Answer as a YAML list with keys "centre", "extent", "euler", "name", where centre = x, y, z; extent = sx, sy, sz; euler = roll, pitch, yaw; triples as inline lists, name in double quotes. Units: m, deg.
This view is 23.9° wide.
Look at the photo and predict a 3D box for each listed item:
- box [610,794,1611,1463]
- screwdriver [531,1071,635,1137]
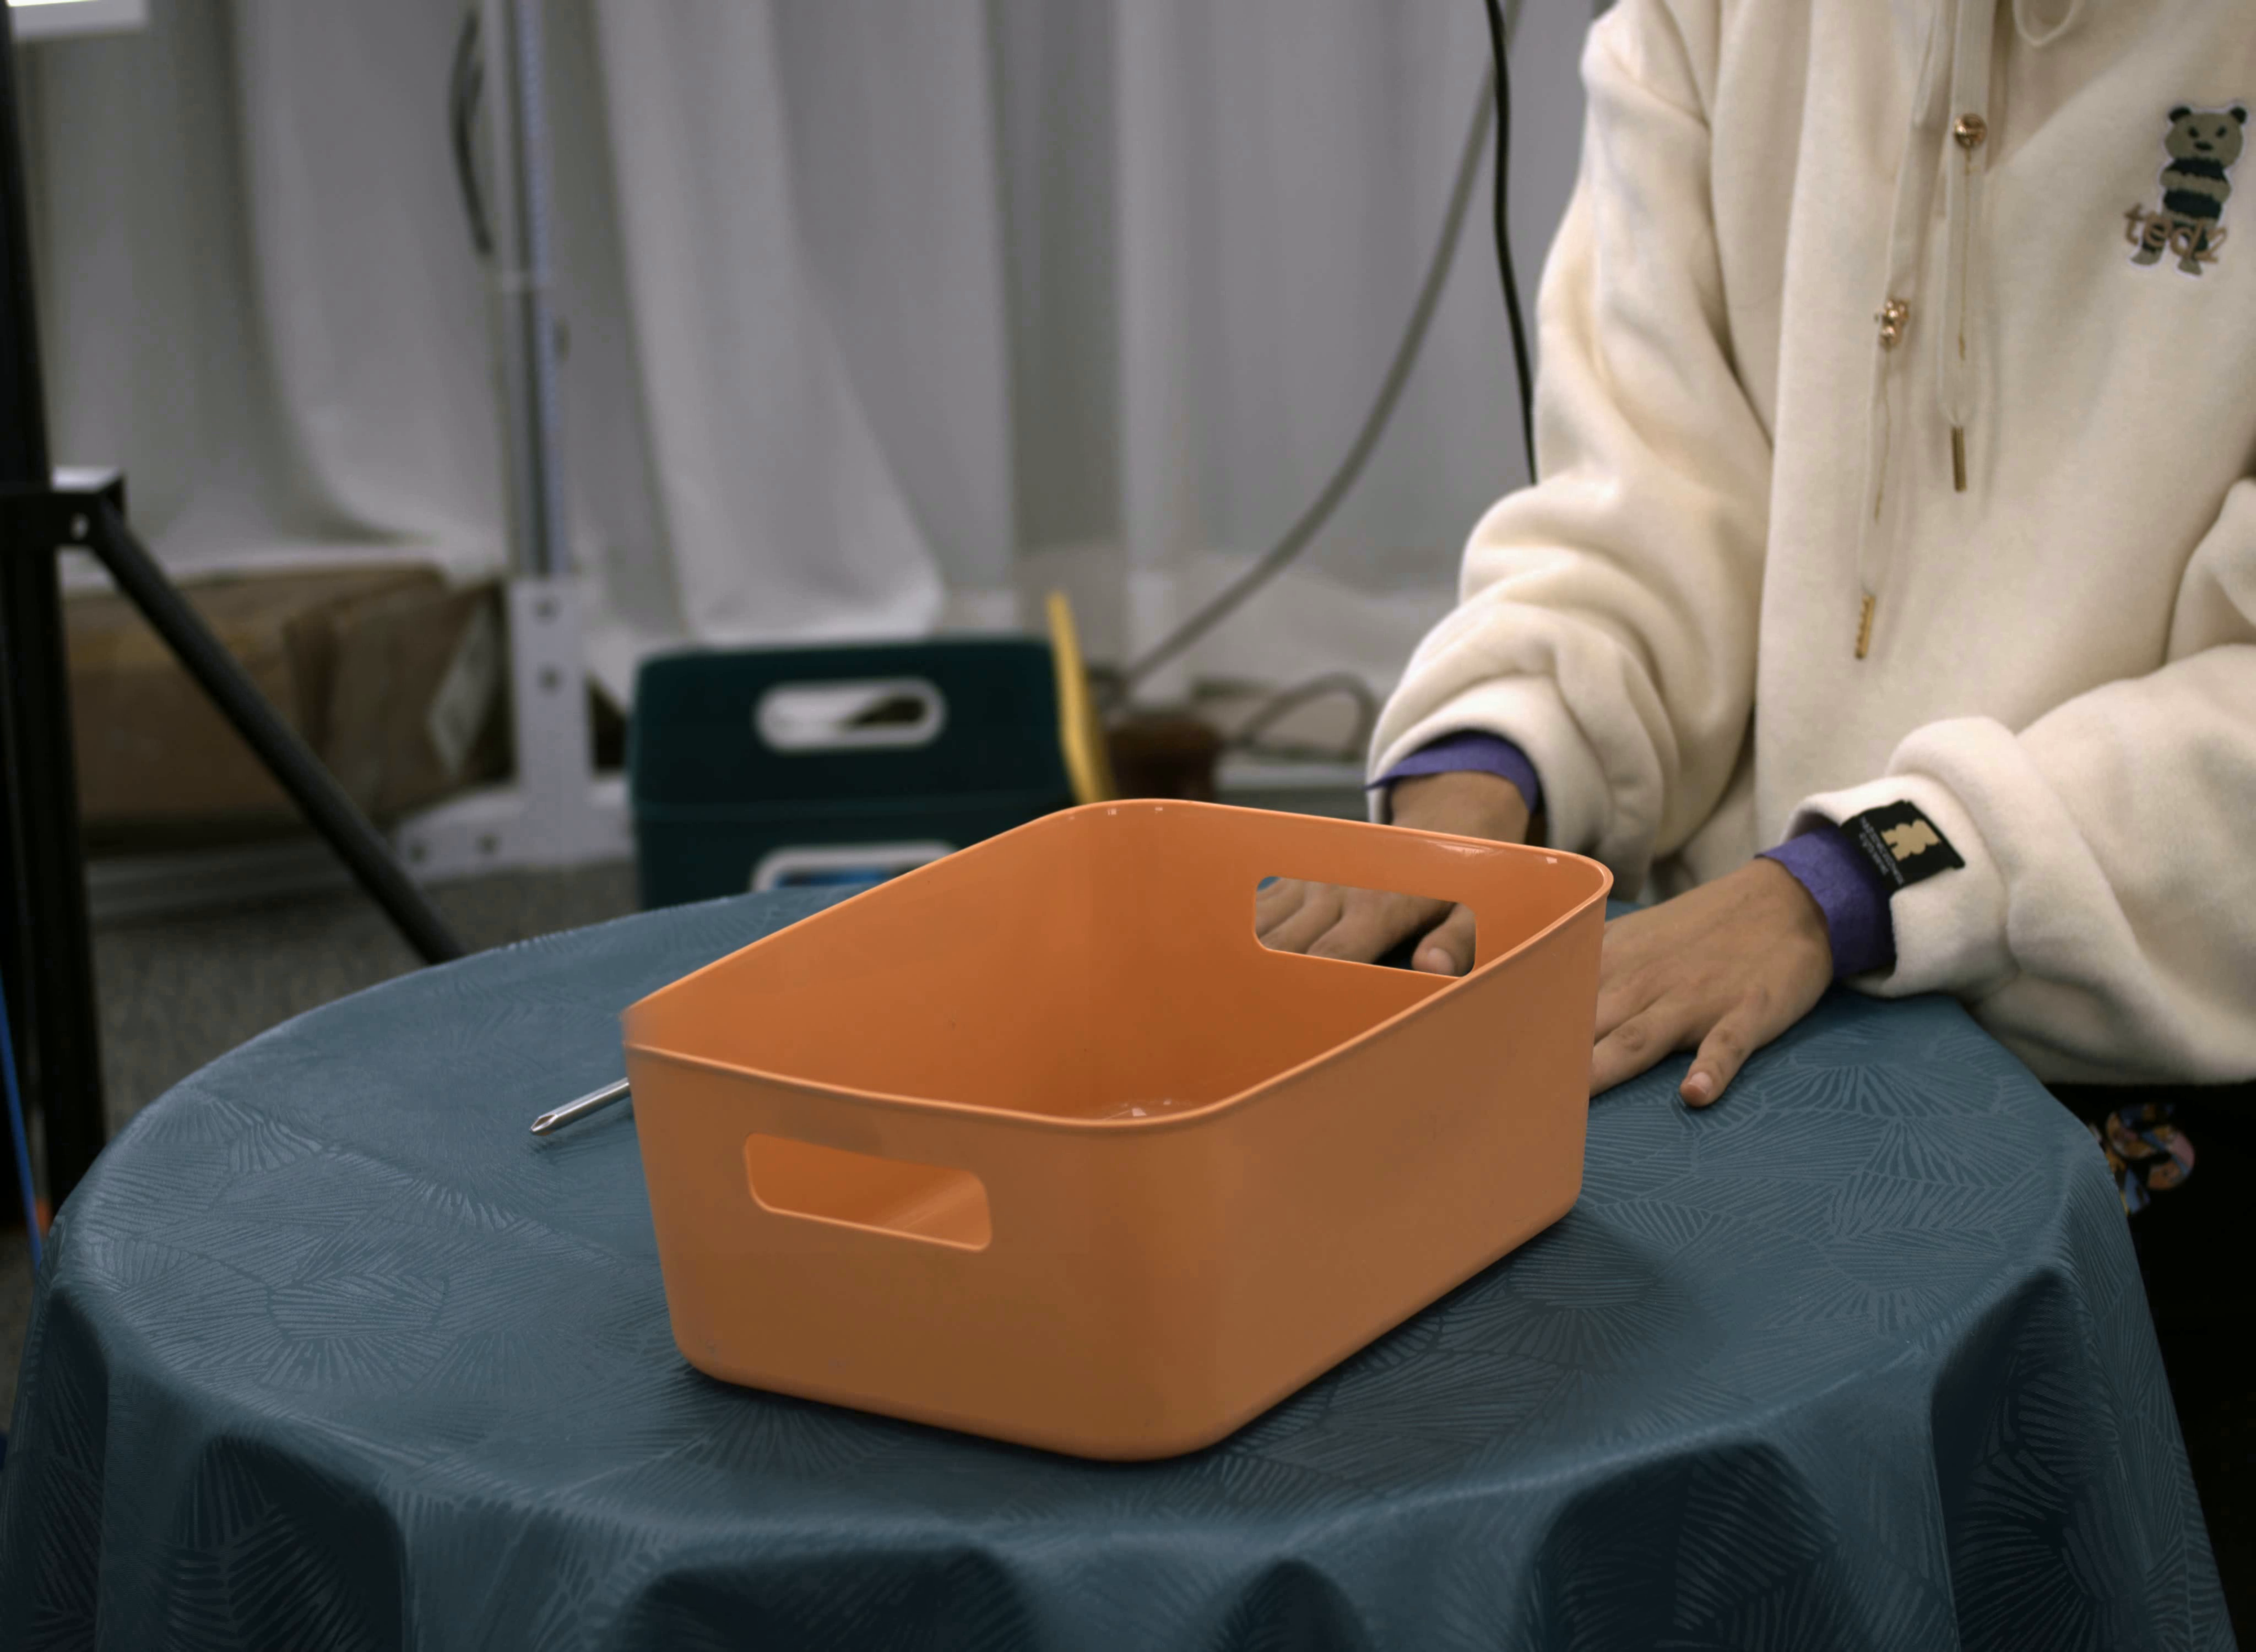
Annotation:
- centre: [0.003, 0.079, 1.466]
  extent: [0.203, 0.102, 0.268]
  euler: [7, 18, 33]
  name: "box"
- centre: [-0.124, 0.066, 1.692]
  extent: [0.032, 0.031, 0.192]
  euler: [12, 25, 40]
  name: "screwdriver"
